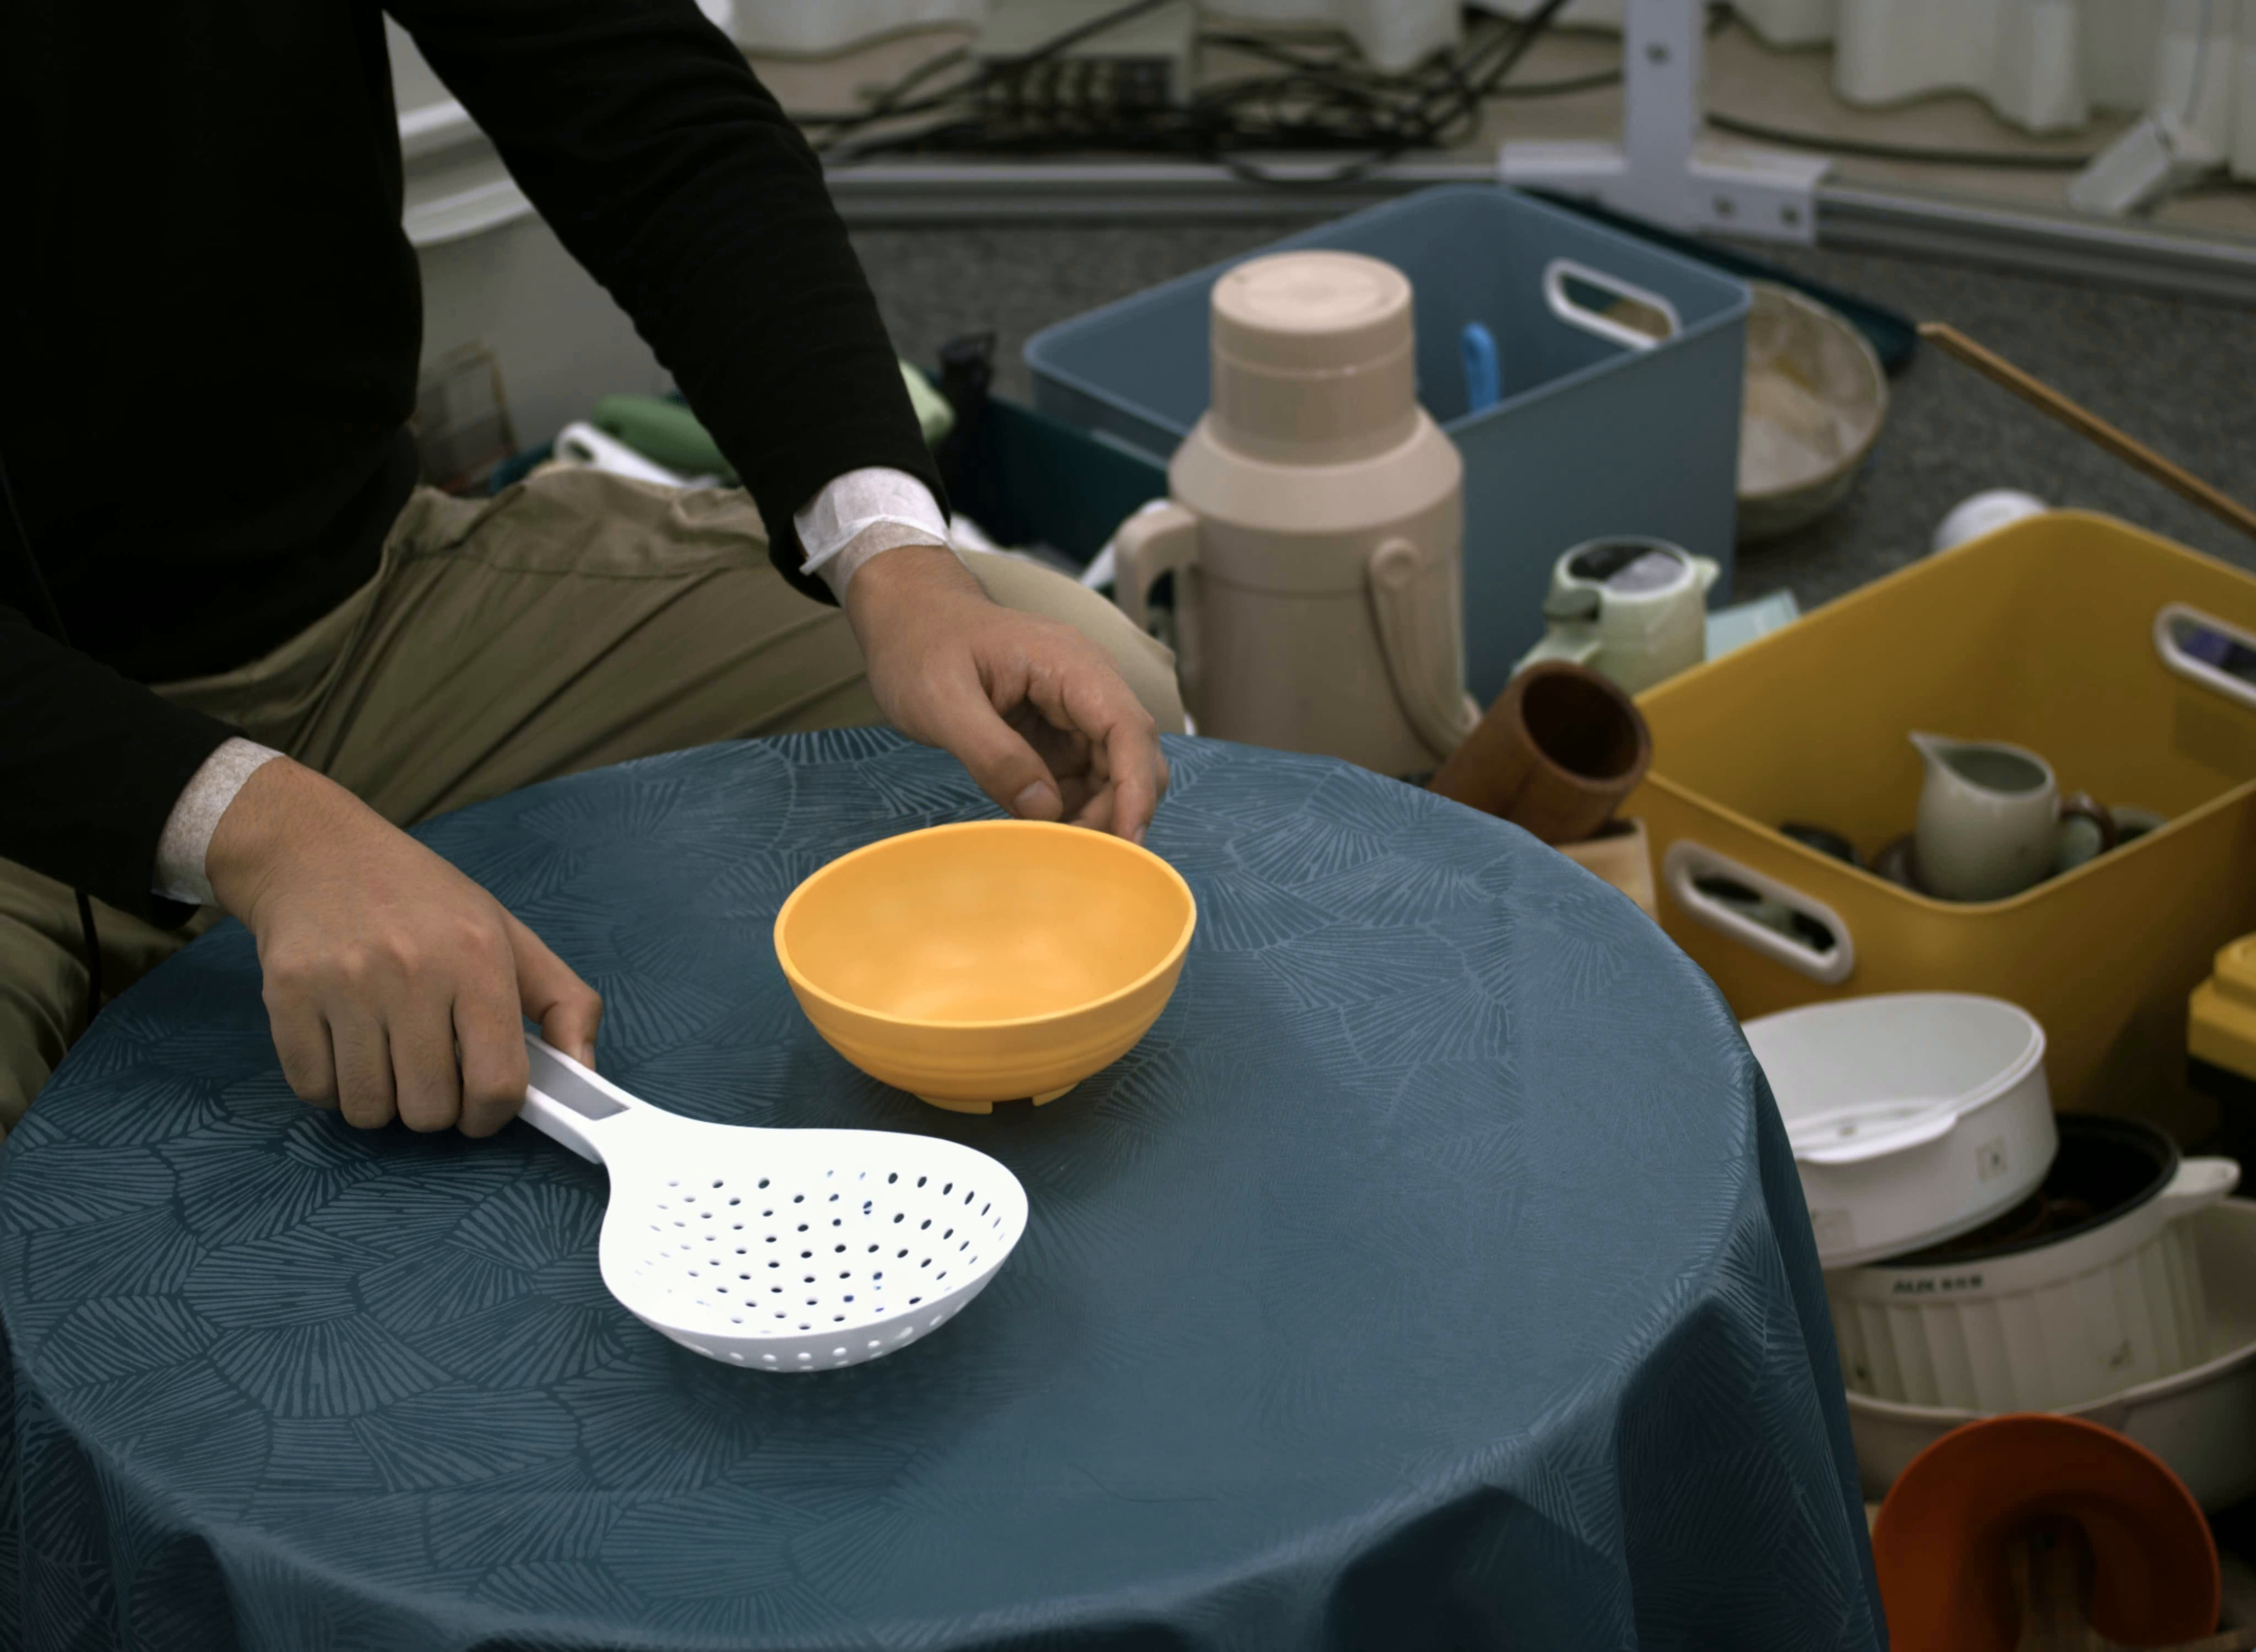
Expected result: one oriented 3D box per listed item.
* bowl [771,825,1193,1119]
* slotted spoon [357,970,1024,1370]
[{"bbox_3d":[-0.049,0.059,1.927,0.144,0.059,0.147,-1,27,1],"label":"bowl"},{"bbox_3d":[-0.162,0.106,1.858,0.137,0.045,0.350,-21,31,-31],"label":"slotted spoon"}]
